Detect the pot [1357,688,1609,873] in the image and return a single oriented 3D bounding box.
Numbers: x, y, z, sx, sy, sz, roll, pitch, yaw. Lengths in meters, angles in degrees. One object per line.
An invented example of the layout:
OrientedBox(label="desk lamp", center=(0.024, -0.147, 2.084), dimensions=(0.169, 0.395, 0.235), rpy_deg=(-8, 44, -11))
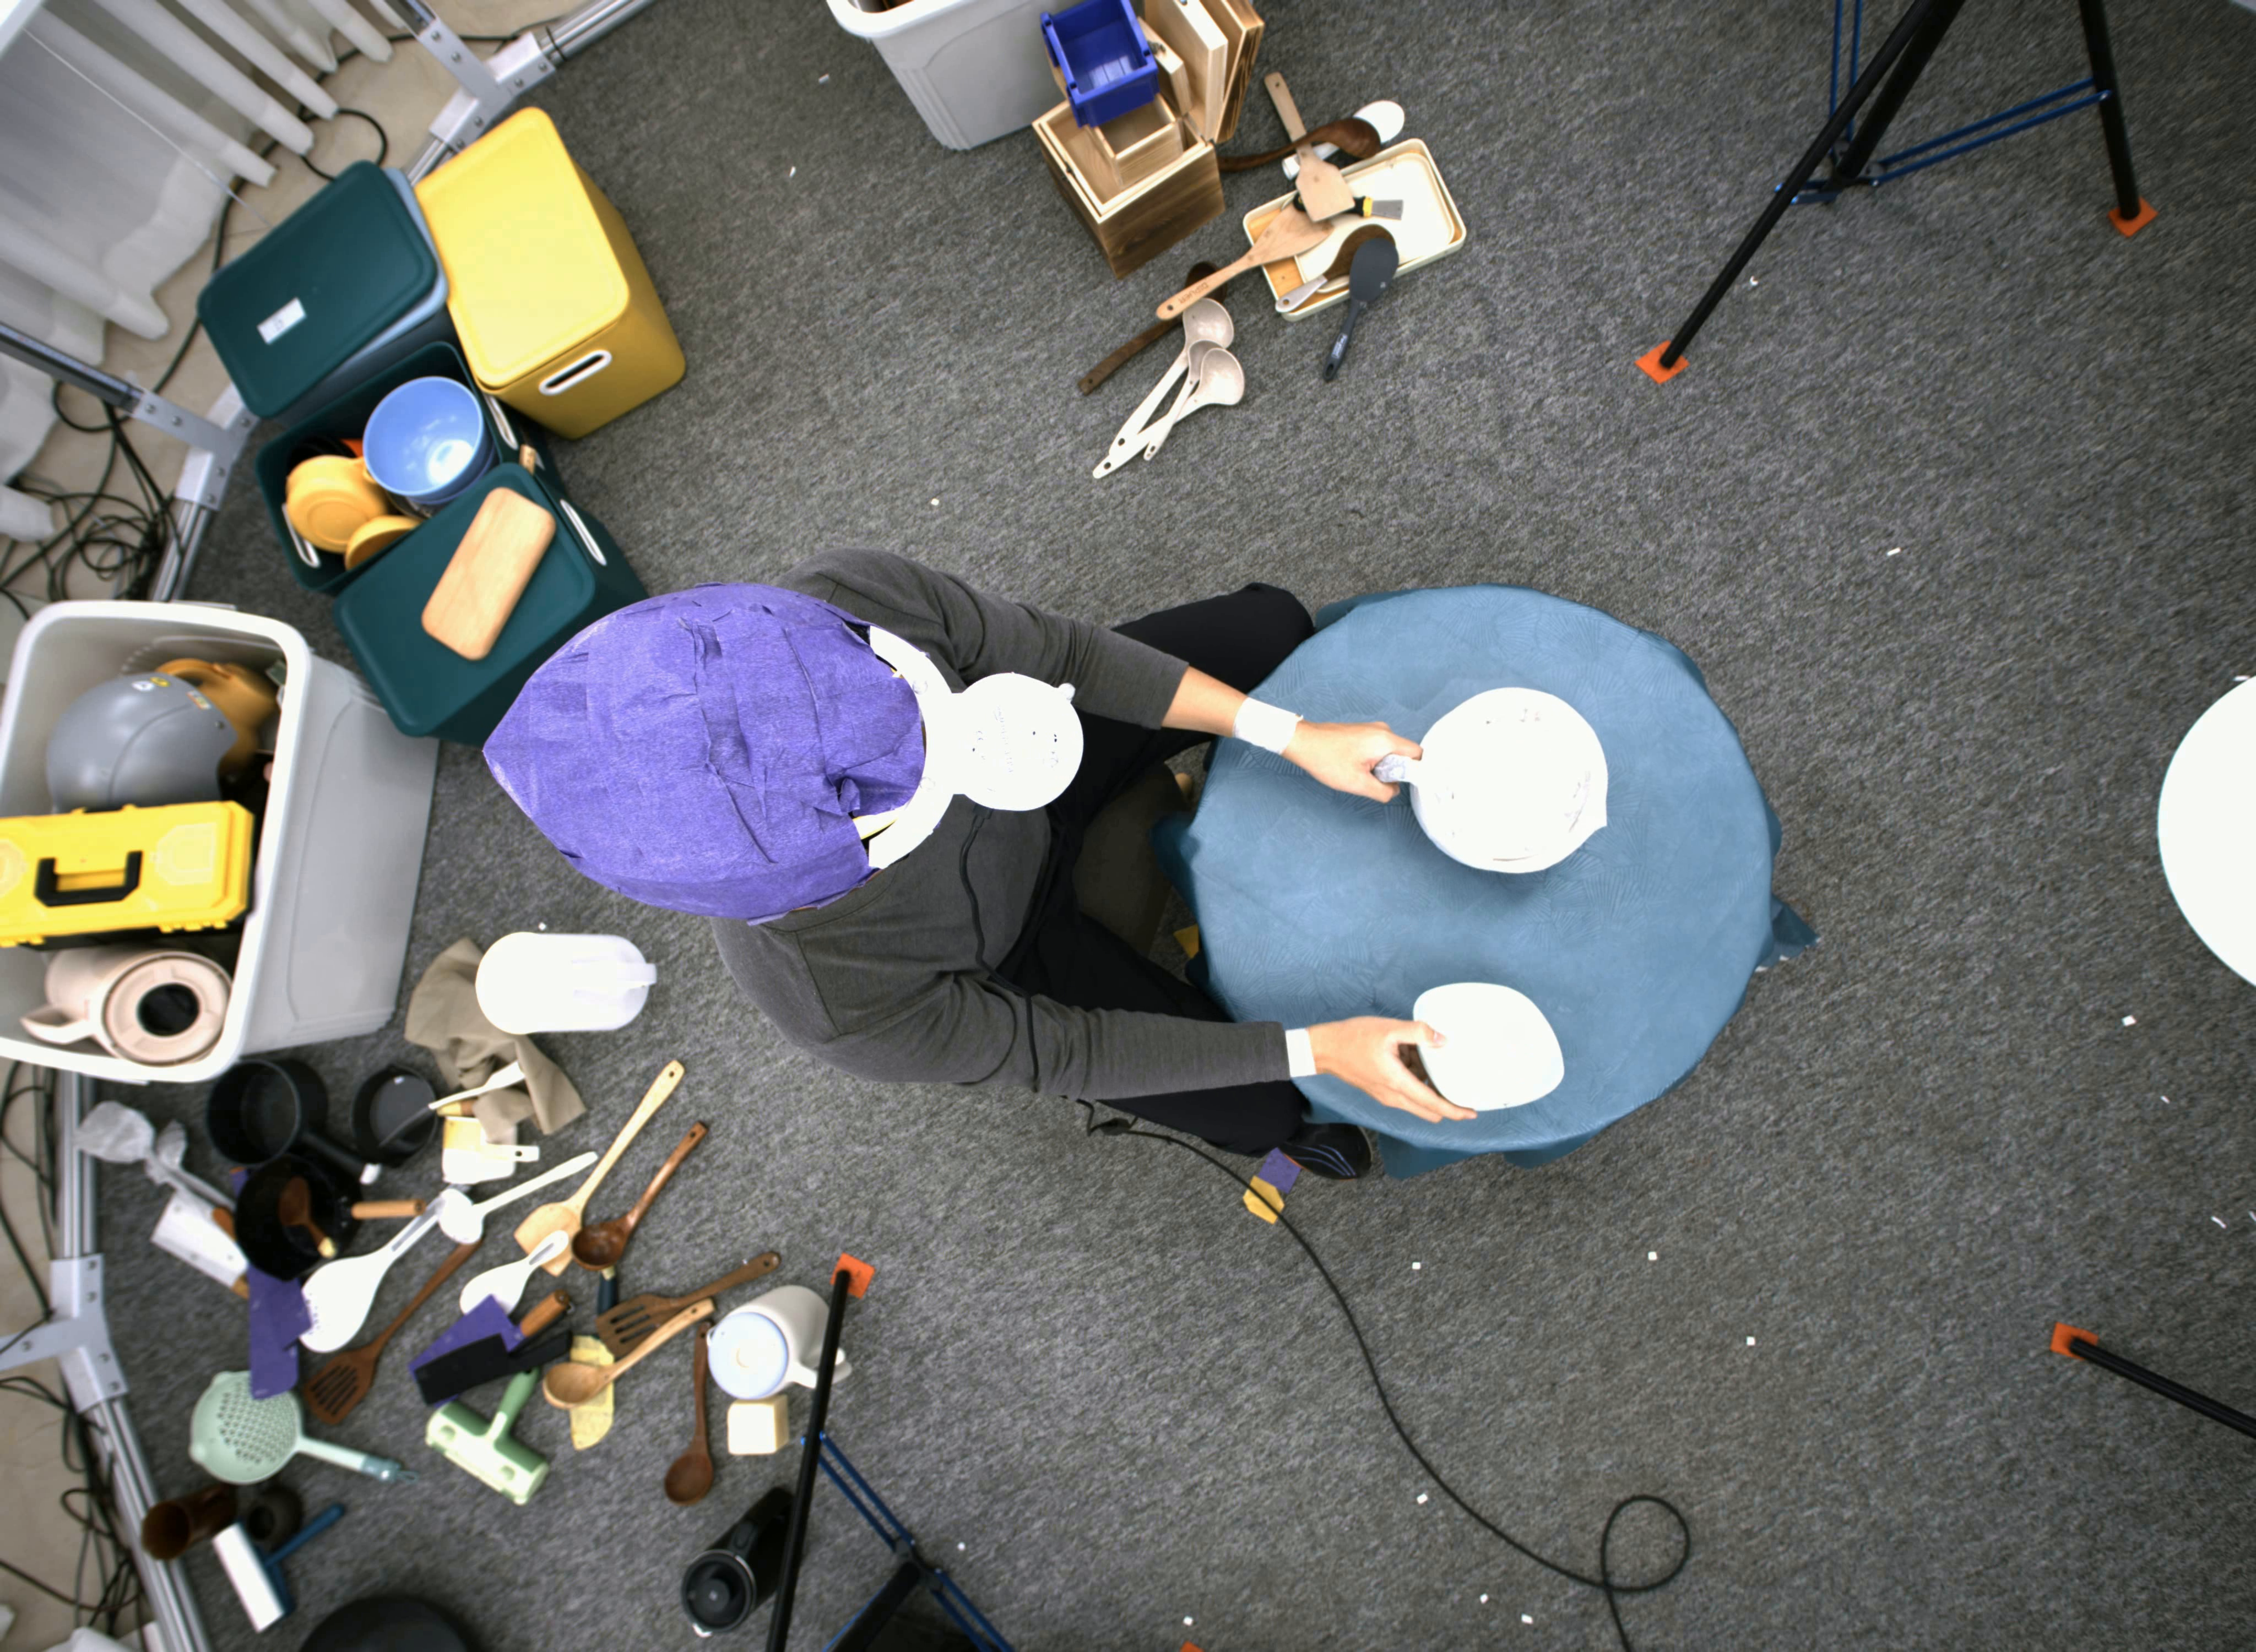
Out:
OrientedBox(label="pot", center=(0.348, -0.047, 1.373), dimensions=(0.234, 0.136, 0.179), rpy_deg=(6, 92, 7))

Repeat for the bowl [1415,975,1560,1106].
OrientedBox(label="bowl", center=(0.336, 0.214, 1.326), dimensions=(0.151, 0.060, 0.147), rpy_deg=(9, 49, -10))
